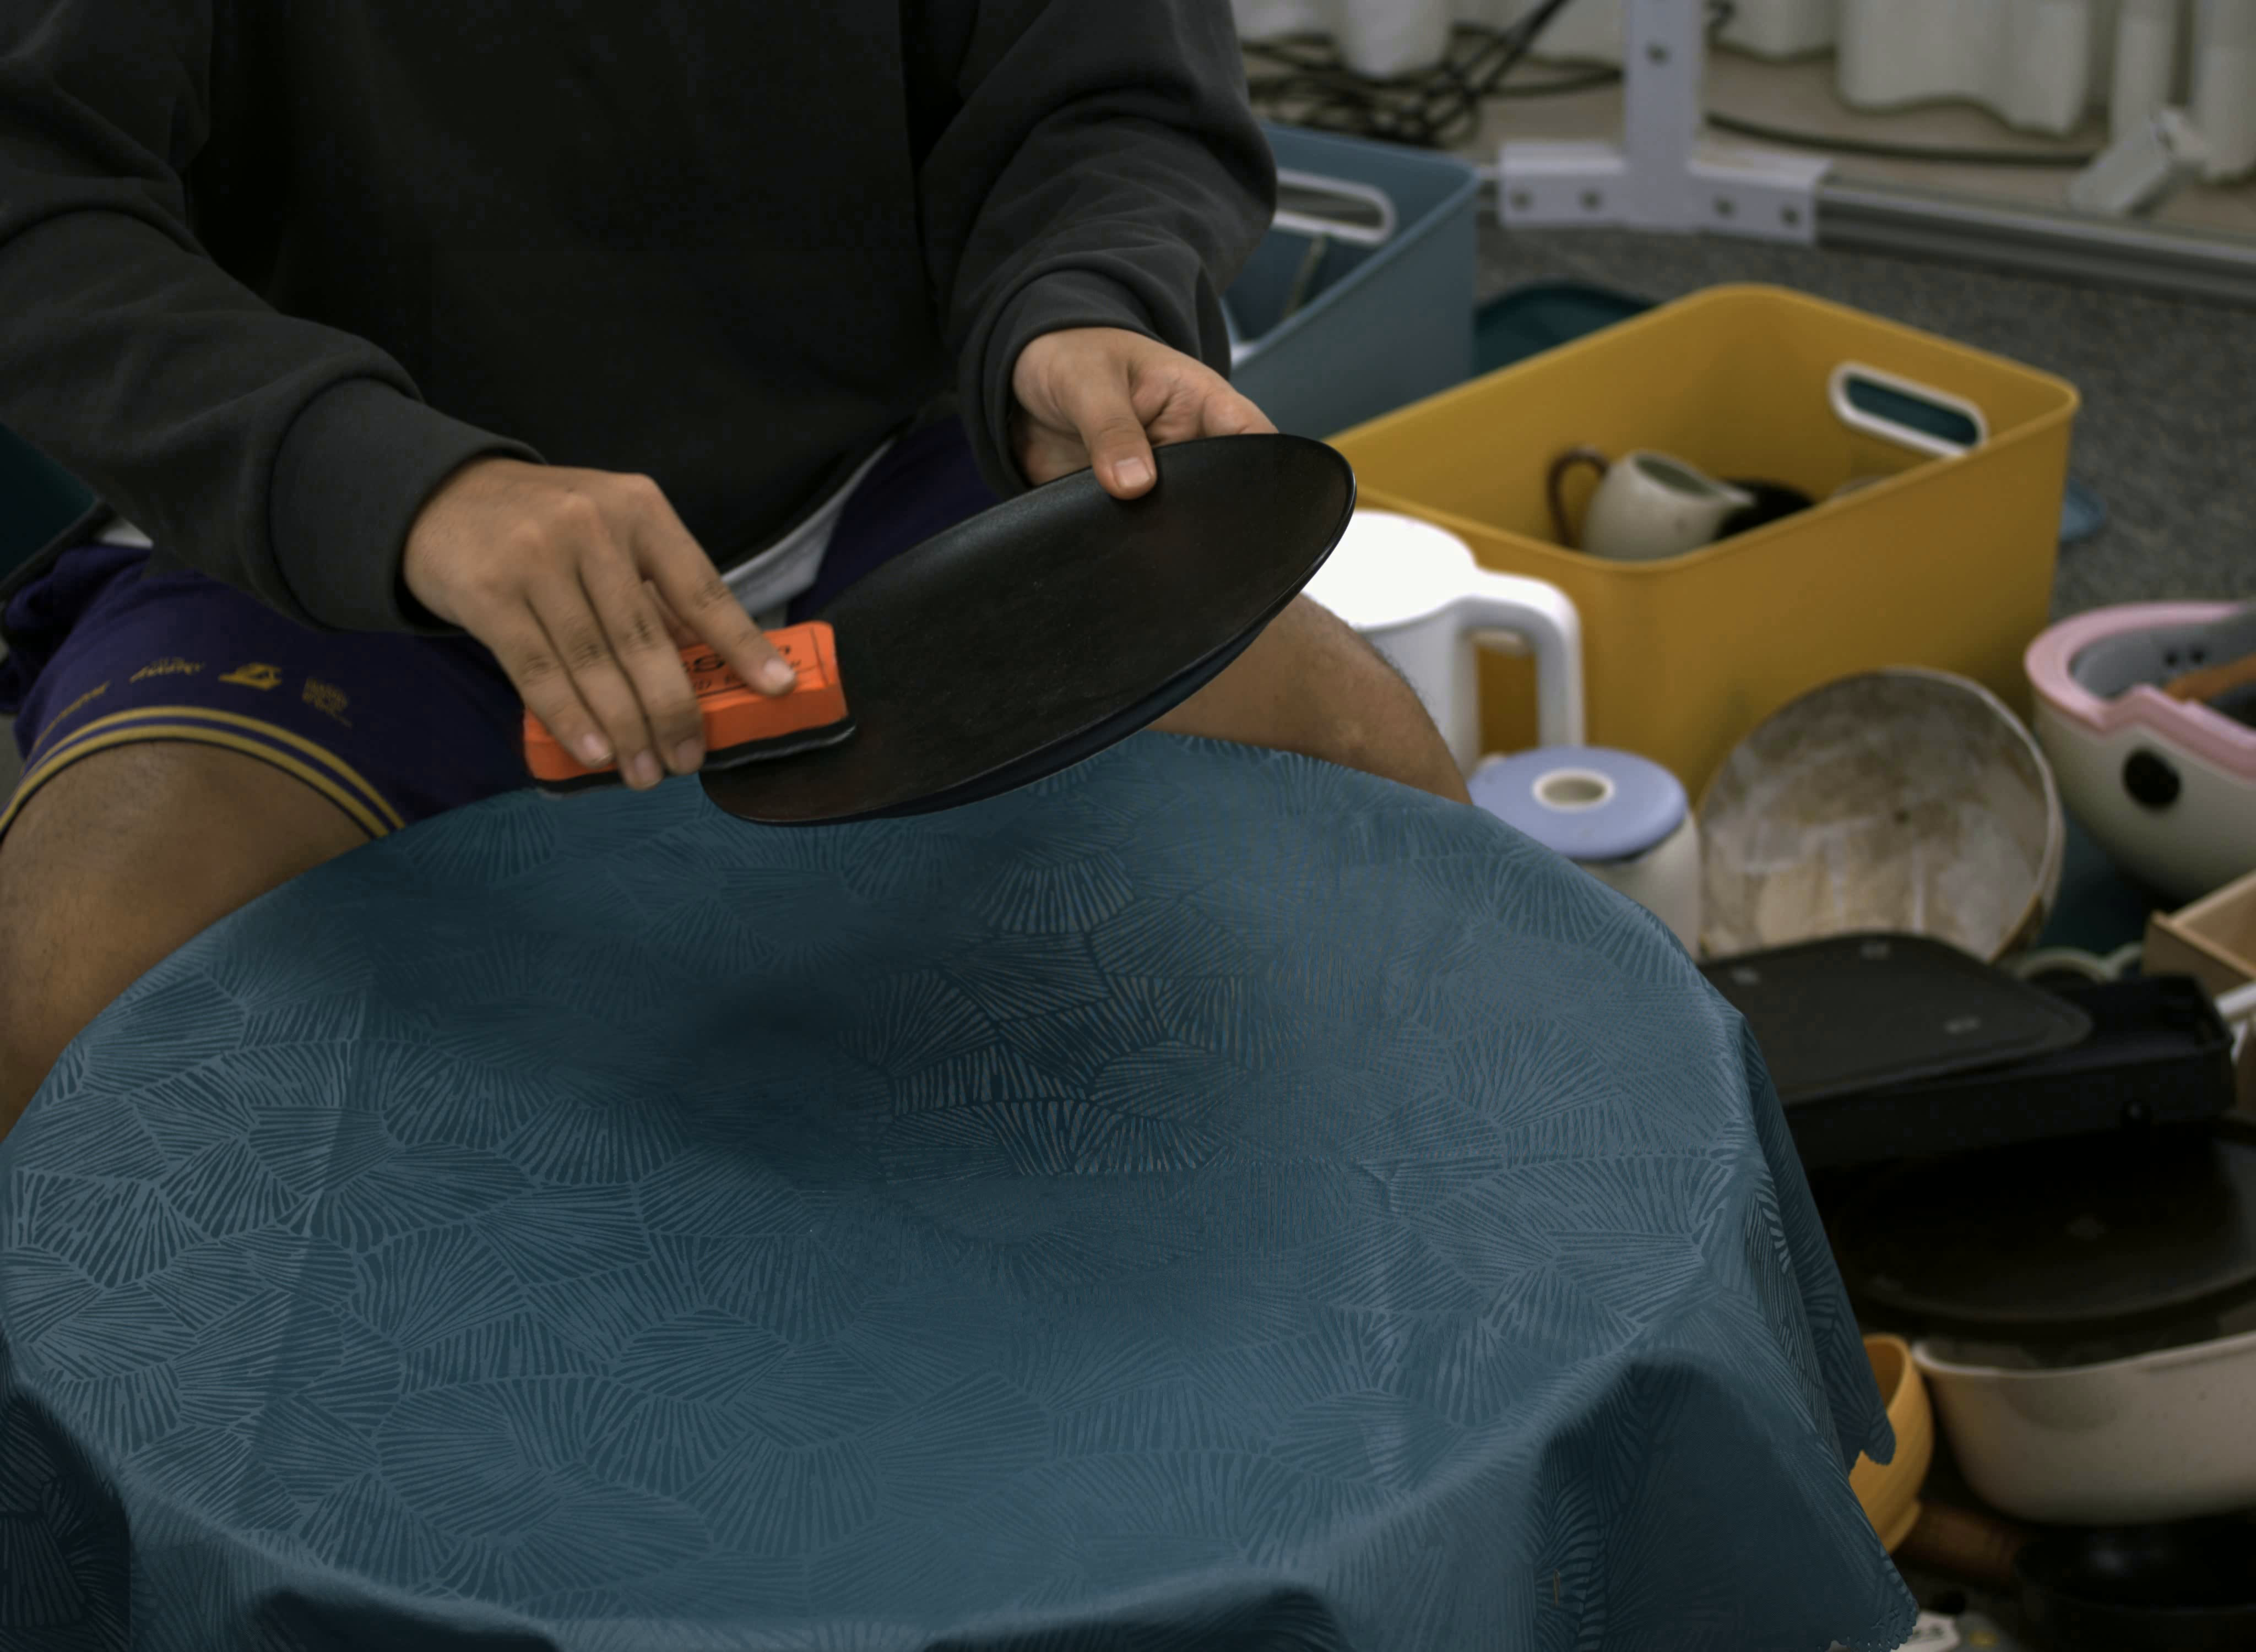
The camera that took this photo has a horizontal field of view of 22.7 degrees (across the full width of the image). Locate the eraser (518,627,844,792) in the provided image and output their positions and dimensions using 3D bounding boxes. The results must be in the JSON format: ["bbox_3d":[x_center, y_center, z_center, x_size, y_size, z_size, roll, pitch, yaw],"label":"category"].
[{"bbox_3d":[-0.152,-0.040,1.910,0.108,0.022,0.059,-10,25,-4],"label":"eraser"}]

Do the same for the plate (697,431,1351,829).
[{"bbox_3d":[-0.032,-0.061,1.896,0.242,0.023,0.248,-22,22,10],"label":"plate"}]
